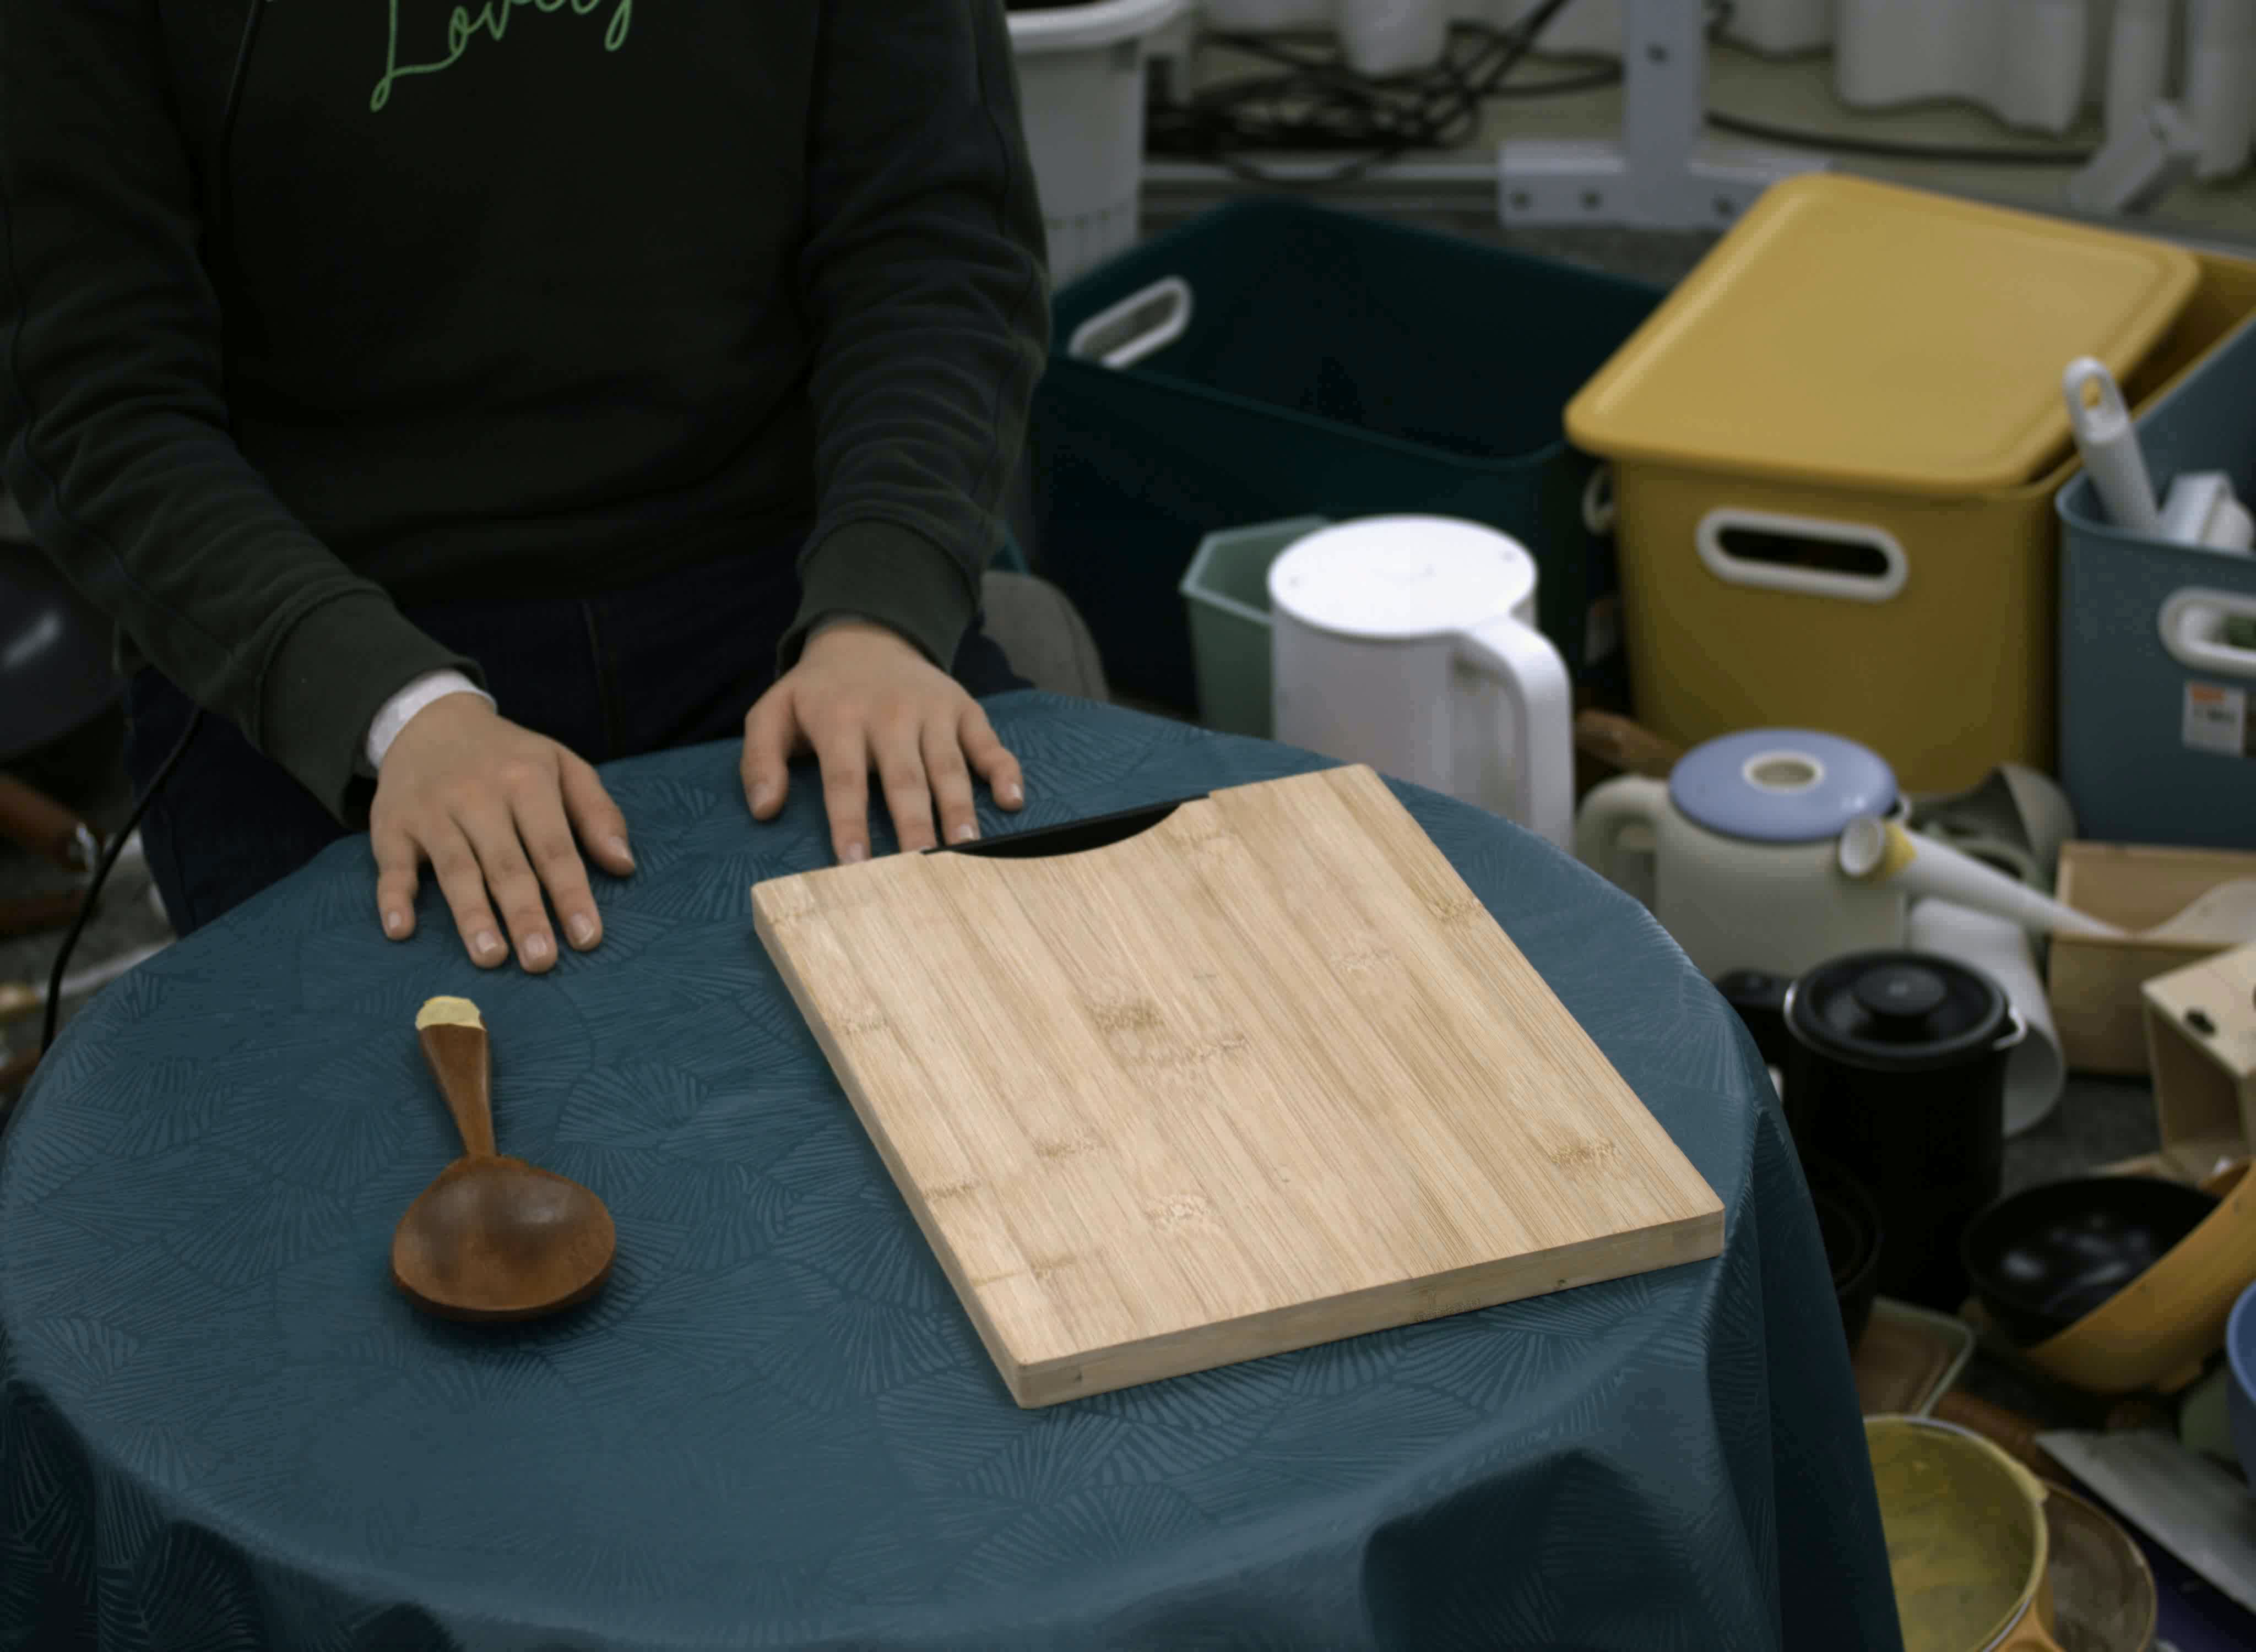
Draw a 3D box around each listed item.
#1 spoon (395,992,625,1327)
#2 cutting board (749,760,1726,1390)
[{"bbox_3d":[-0.215,0.112,1.882,0.075,0.017,0.218,-10,28,-9],"label":"spoon"},{"bbox_3d":[0.027,0.078,1.926,0.251,0.023,0.352,-11,28,-16],"label":"cutting board"}]
